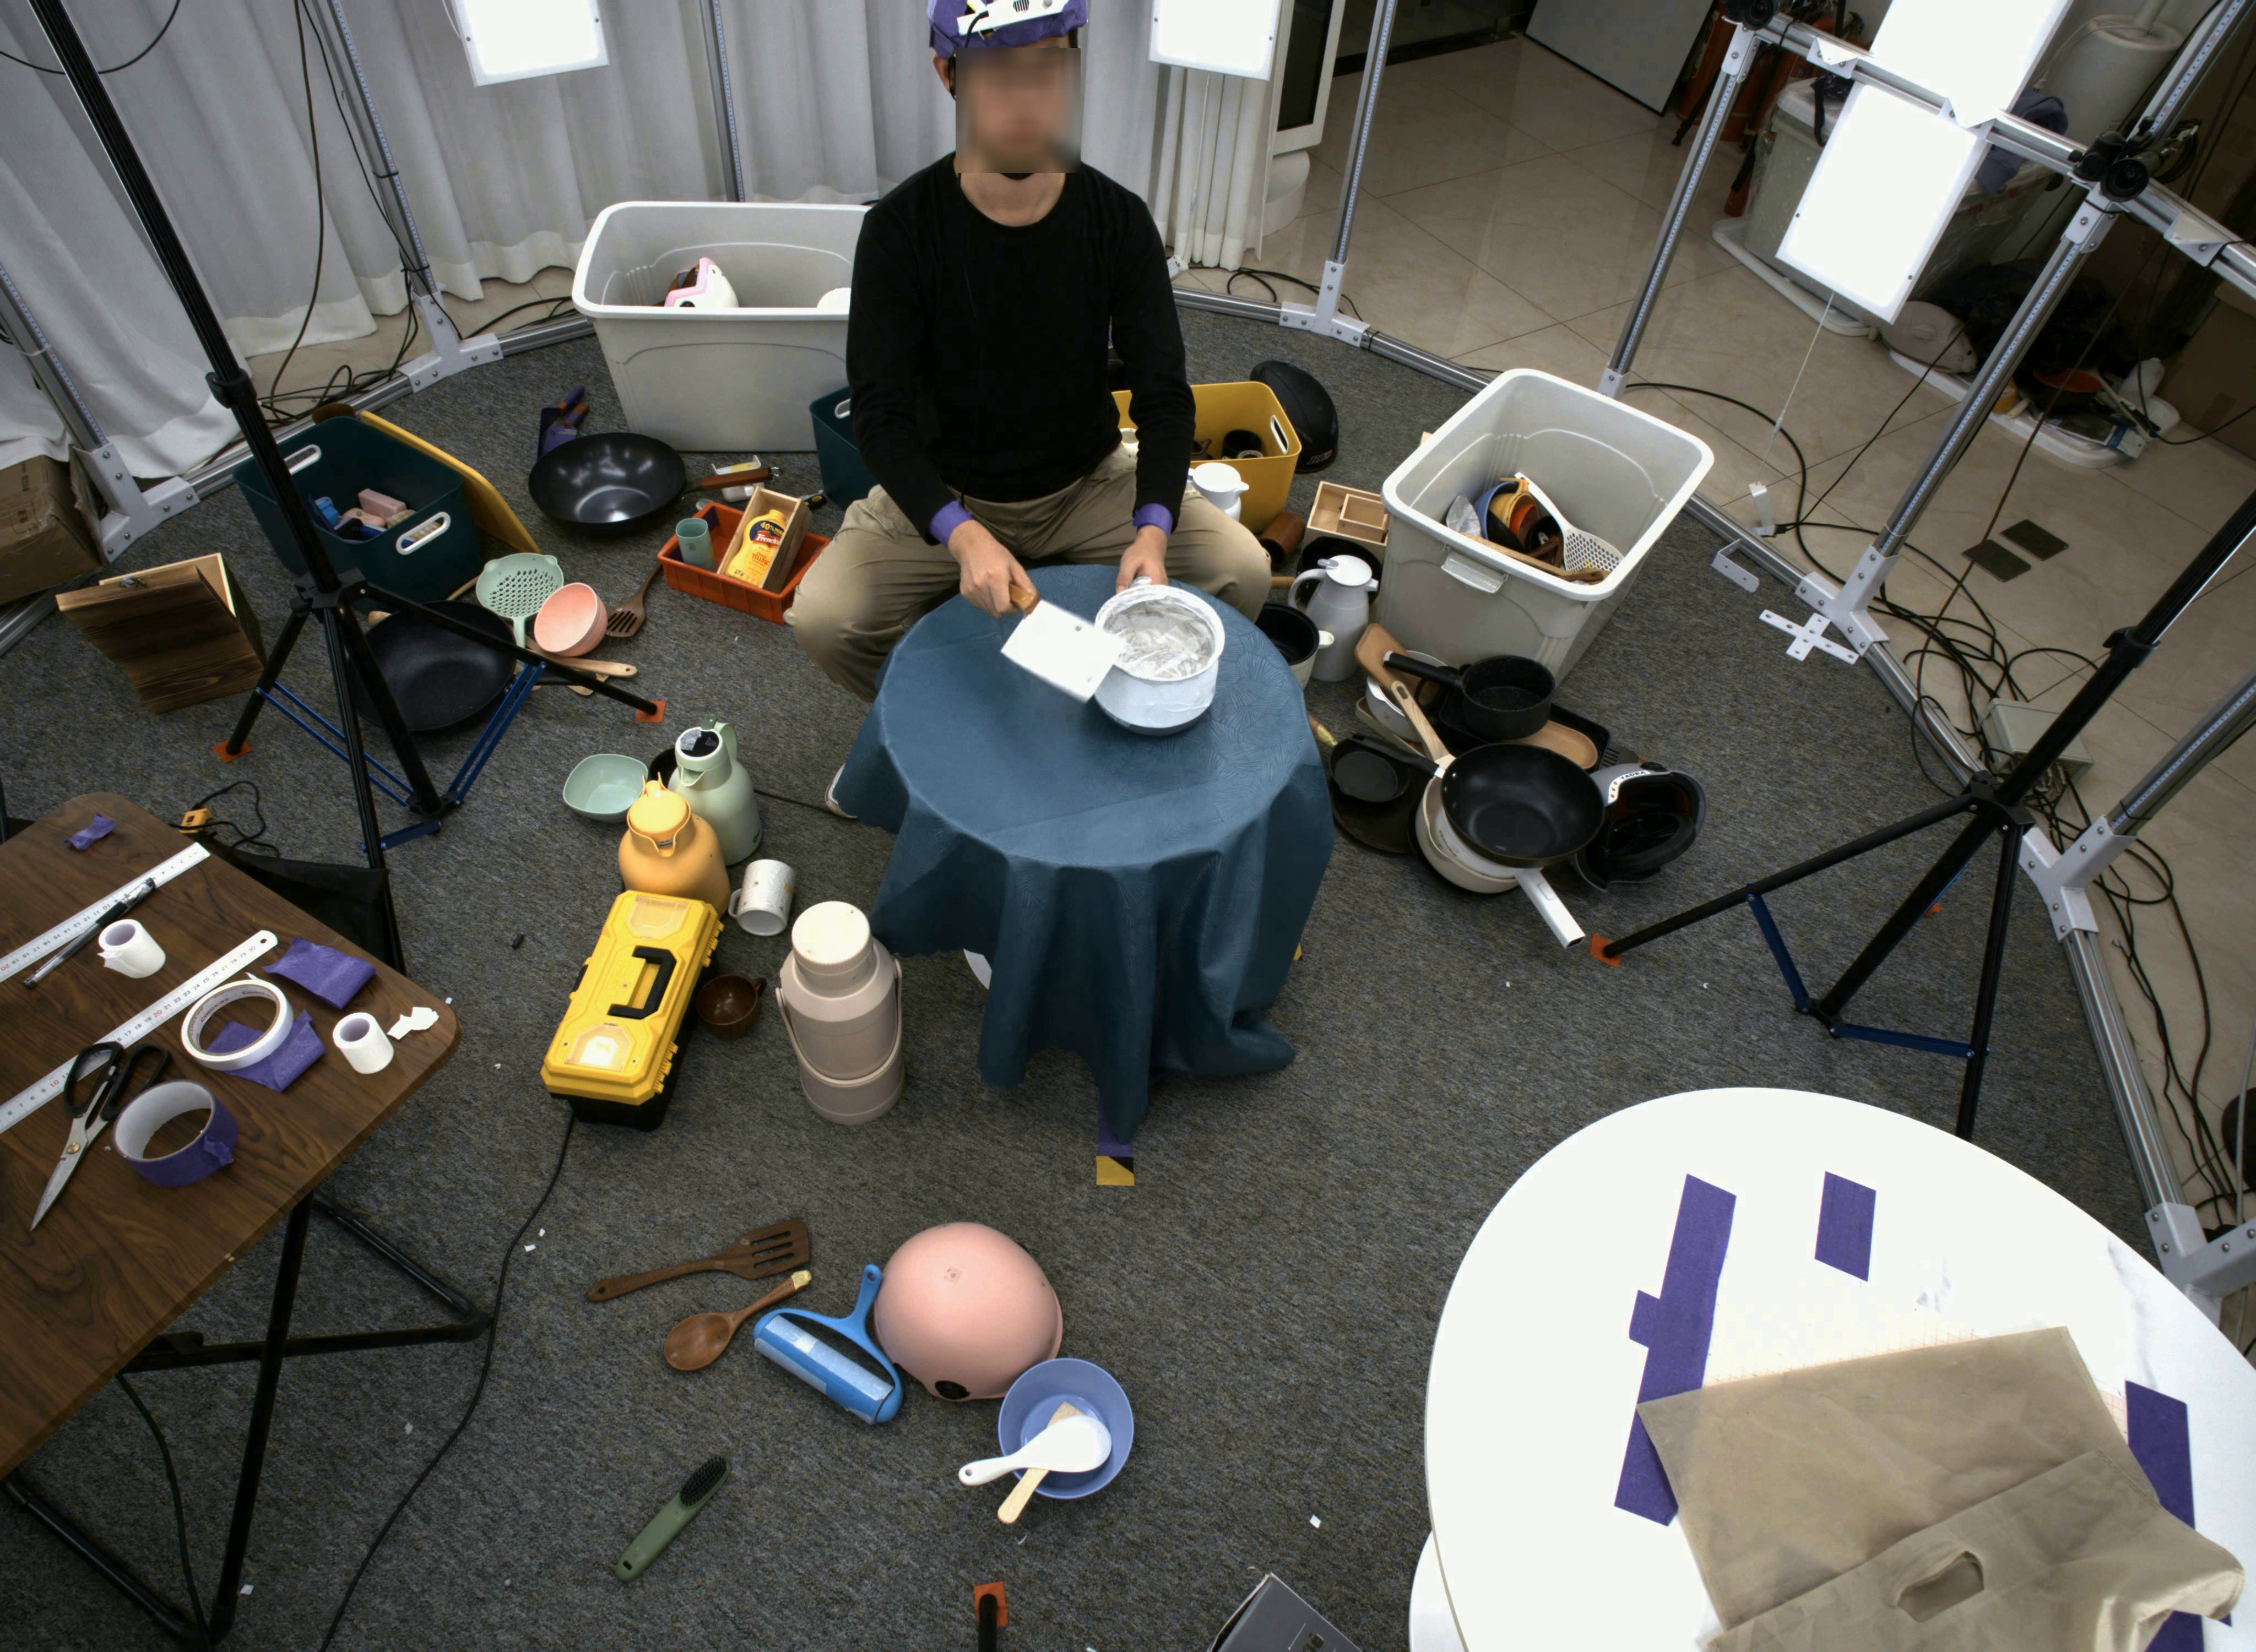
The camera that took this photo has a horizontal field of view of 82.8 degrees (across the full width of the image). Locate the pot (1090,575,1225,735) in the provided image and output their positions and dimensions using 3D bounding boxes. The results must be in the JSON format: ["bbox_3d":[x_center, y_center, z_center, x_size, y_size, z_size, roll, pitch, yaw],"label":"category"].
[{"bbox_3d":[0.032,-0.248,1.787,0.178,0.133,0.239,-7,56,-11],"label":"pot"}]

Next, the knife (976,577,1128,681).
[{"bbox_3d":[-0.119,-0.265,1.732,0.310,0.020,0.093,30,85,42],"label":"knife"}]
